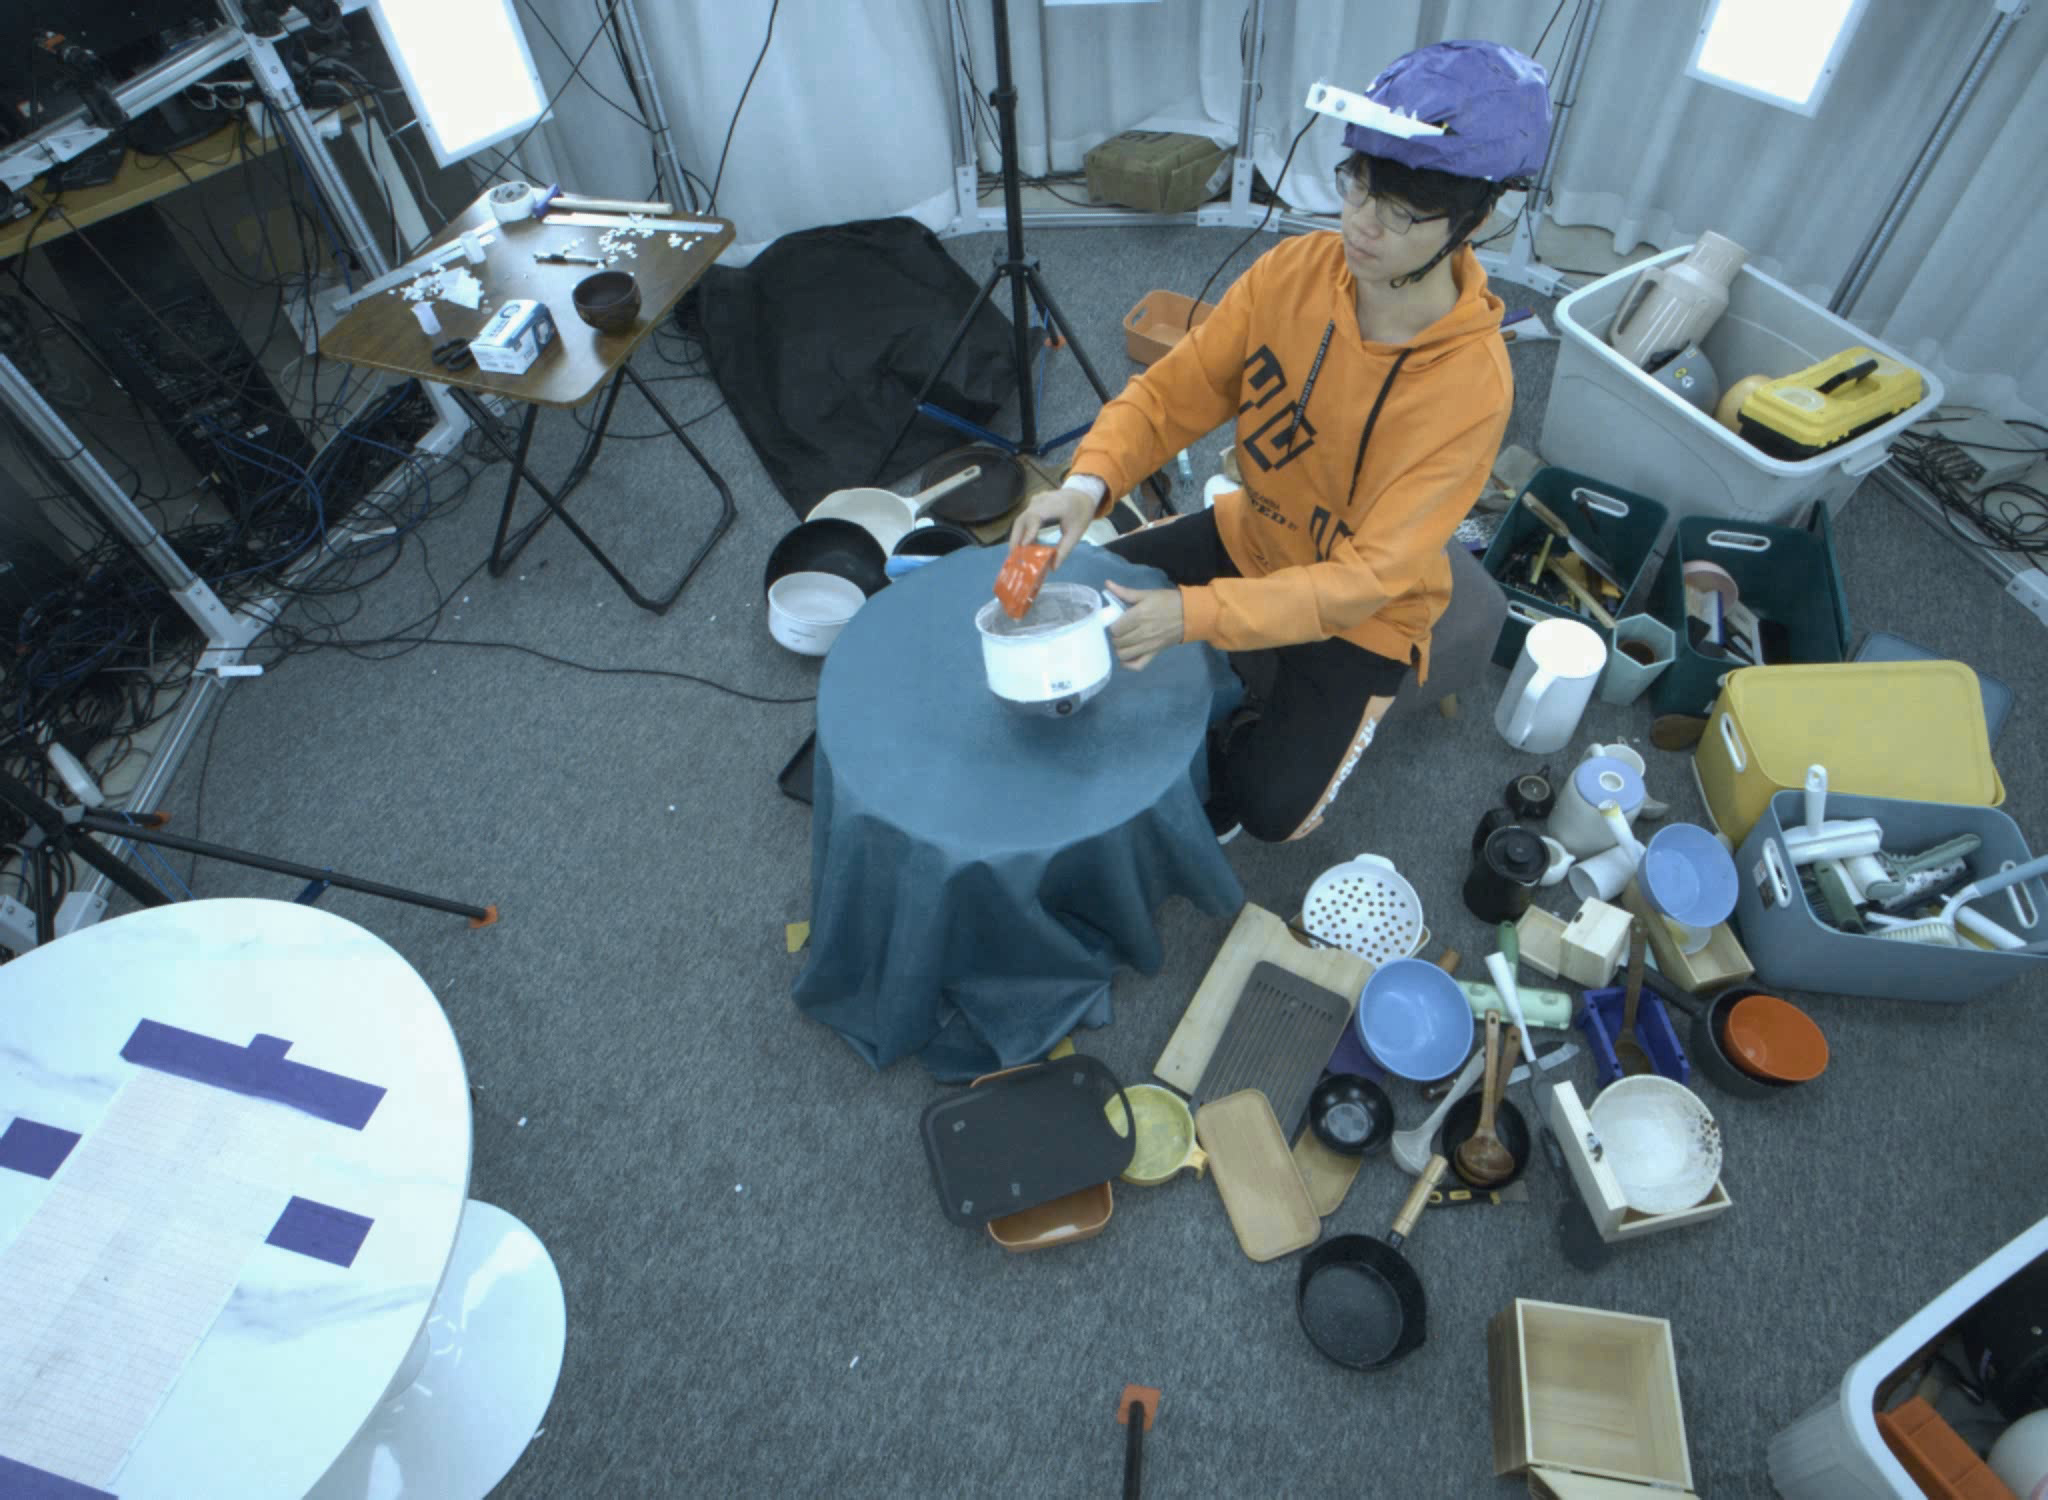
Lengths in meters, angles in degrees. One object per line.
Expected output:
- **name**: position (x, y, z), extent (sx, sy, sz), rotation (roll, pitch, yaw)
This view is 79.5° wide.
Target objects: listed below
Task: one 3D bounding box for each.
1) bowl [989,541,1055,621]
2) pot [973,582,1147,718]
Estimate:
- **bowl**: position (-0.008, -0.238, 1.666), extent (0.051, 0.119, 0.119), rotation (28, 60, 2)
- **pot**: position (0.055, -0.149, 1.736), extent (0.235, 0.138, 0.175), rotation (-15, 31, -6)
